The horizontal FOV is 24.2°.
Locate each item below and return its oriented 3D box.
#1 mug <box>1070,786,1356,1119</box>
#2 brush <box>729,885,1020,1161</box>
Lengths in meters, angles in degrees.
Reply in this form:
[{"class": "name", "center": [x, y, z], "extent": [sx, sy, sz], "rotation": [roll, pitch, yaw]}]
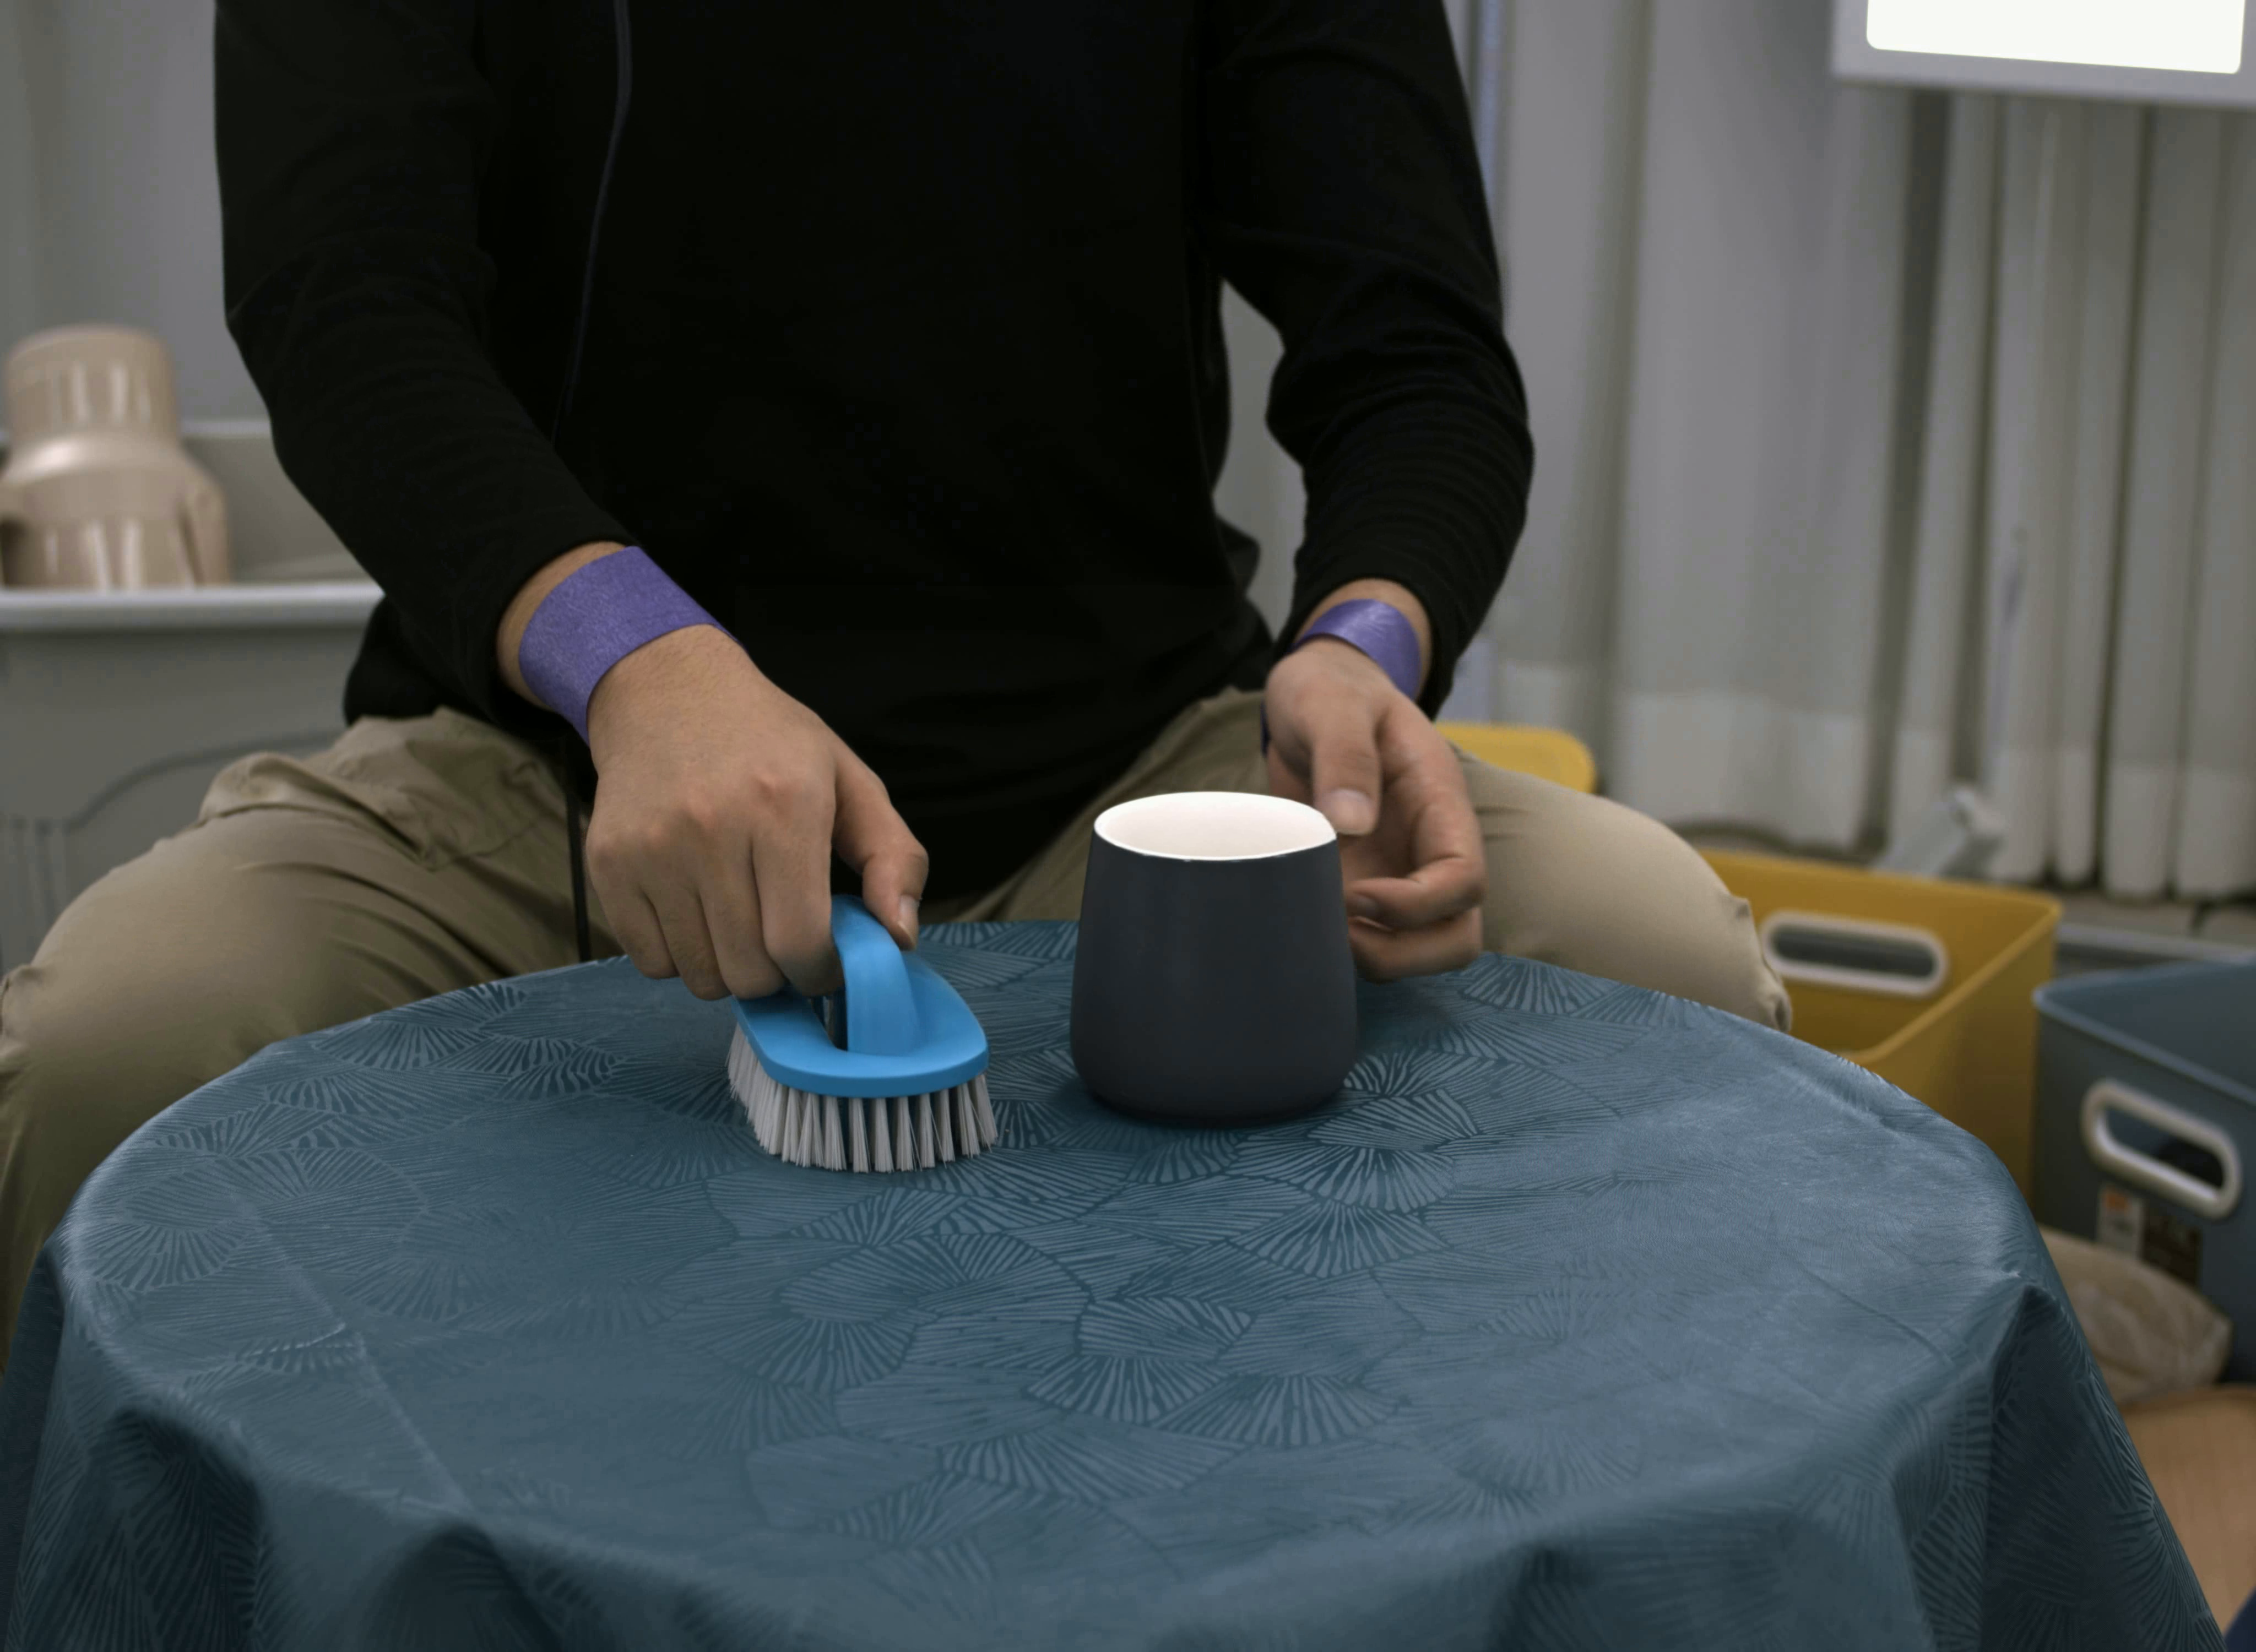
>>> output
[{"class": "mug", "center": [0.026, 0.036, 1.719], "extent": [0.093, 0.090, 0.122], "rotation": [-1, 18, -7]}, {"class": "brush", "center": [-0.085, 0.057, 1.692], "extent": [0.084, 0.064, 0.140], "rotation": [-7, 16, -10]}]
